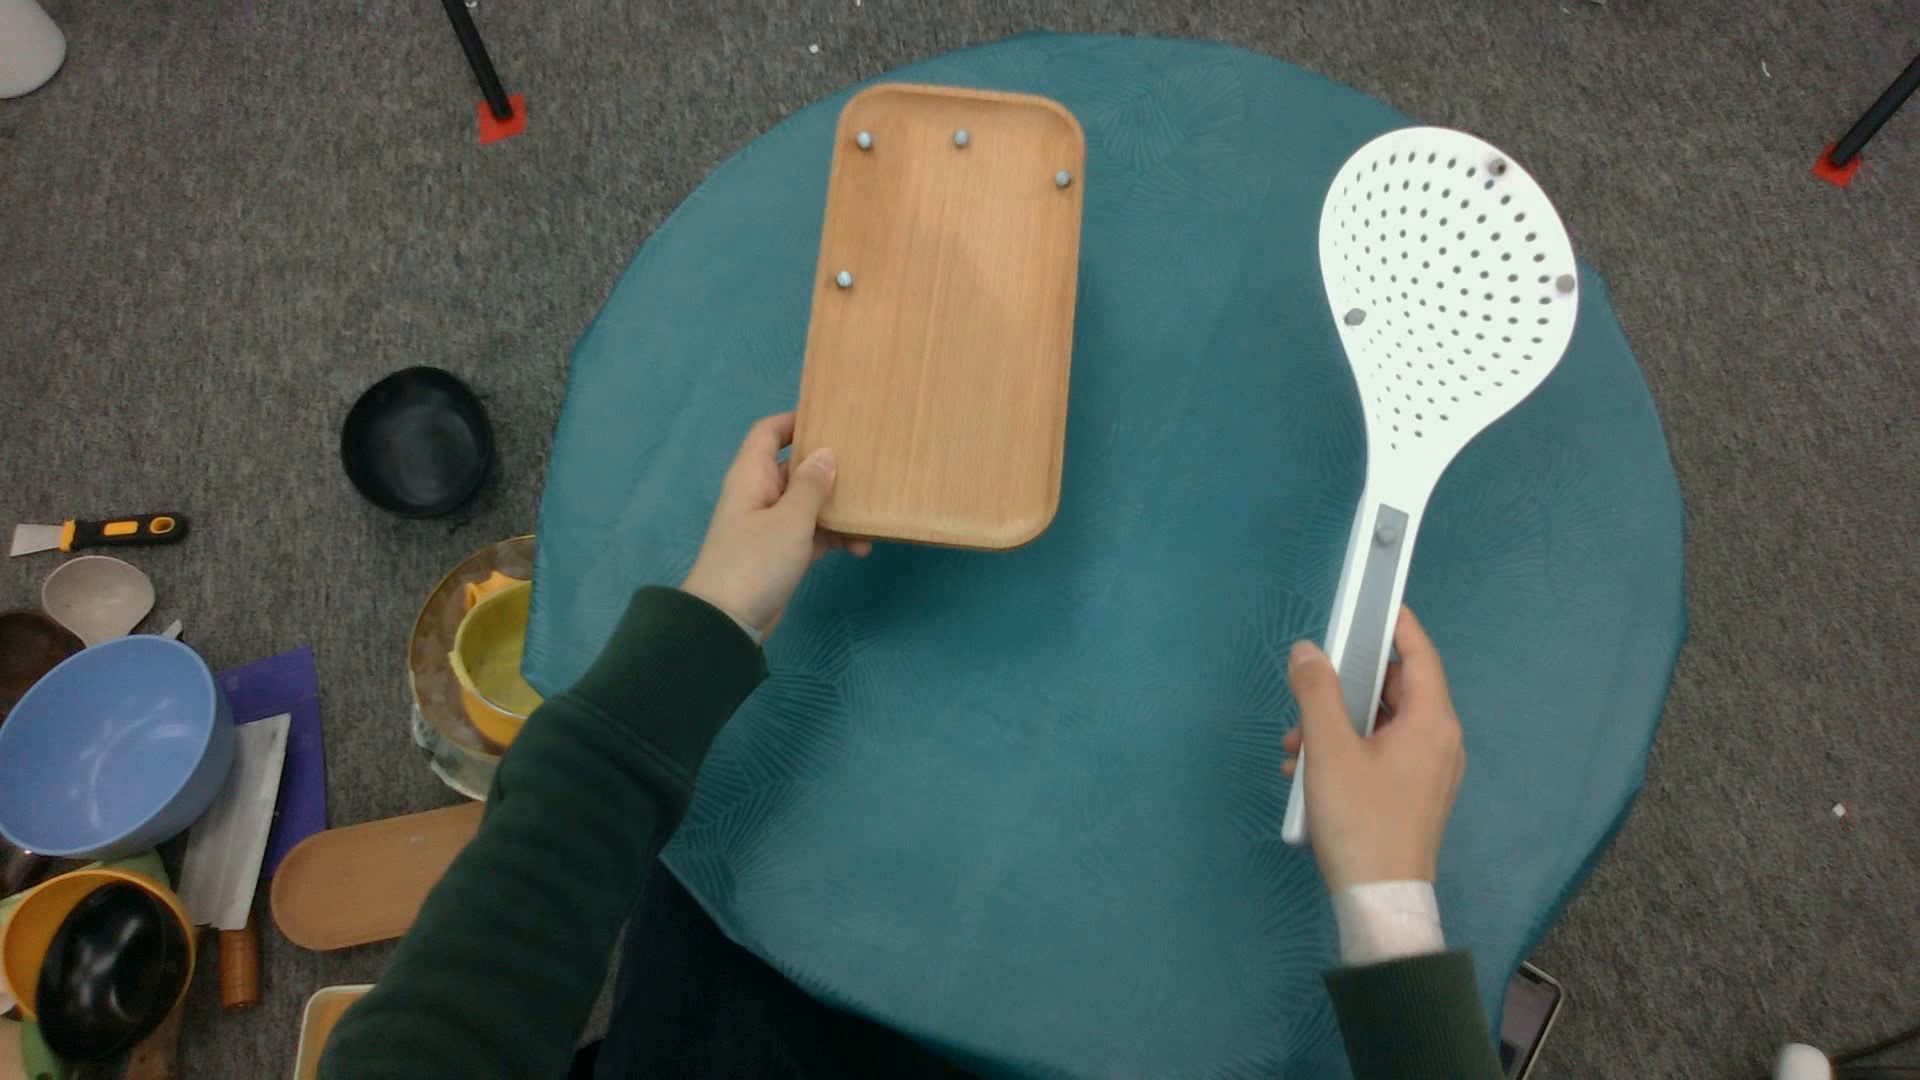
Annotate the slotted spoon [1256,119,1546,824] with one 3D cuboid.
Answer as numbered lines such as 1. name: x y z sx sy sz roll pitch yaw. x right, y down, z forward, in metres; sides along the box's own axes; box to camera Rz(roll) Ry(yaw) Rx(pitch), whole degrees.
1. slotted spoon: 0.190 -0.041 0.634 0.136 0.045 0.351 22 67 -11

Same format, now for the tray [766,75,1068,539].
1. tray: -0.017 -0.120 0.679 0.130 0.023 0.251 6 69 1
